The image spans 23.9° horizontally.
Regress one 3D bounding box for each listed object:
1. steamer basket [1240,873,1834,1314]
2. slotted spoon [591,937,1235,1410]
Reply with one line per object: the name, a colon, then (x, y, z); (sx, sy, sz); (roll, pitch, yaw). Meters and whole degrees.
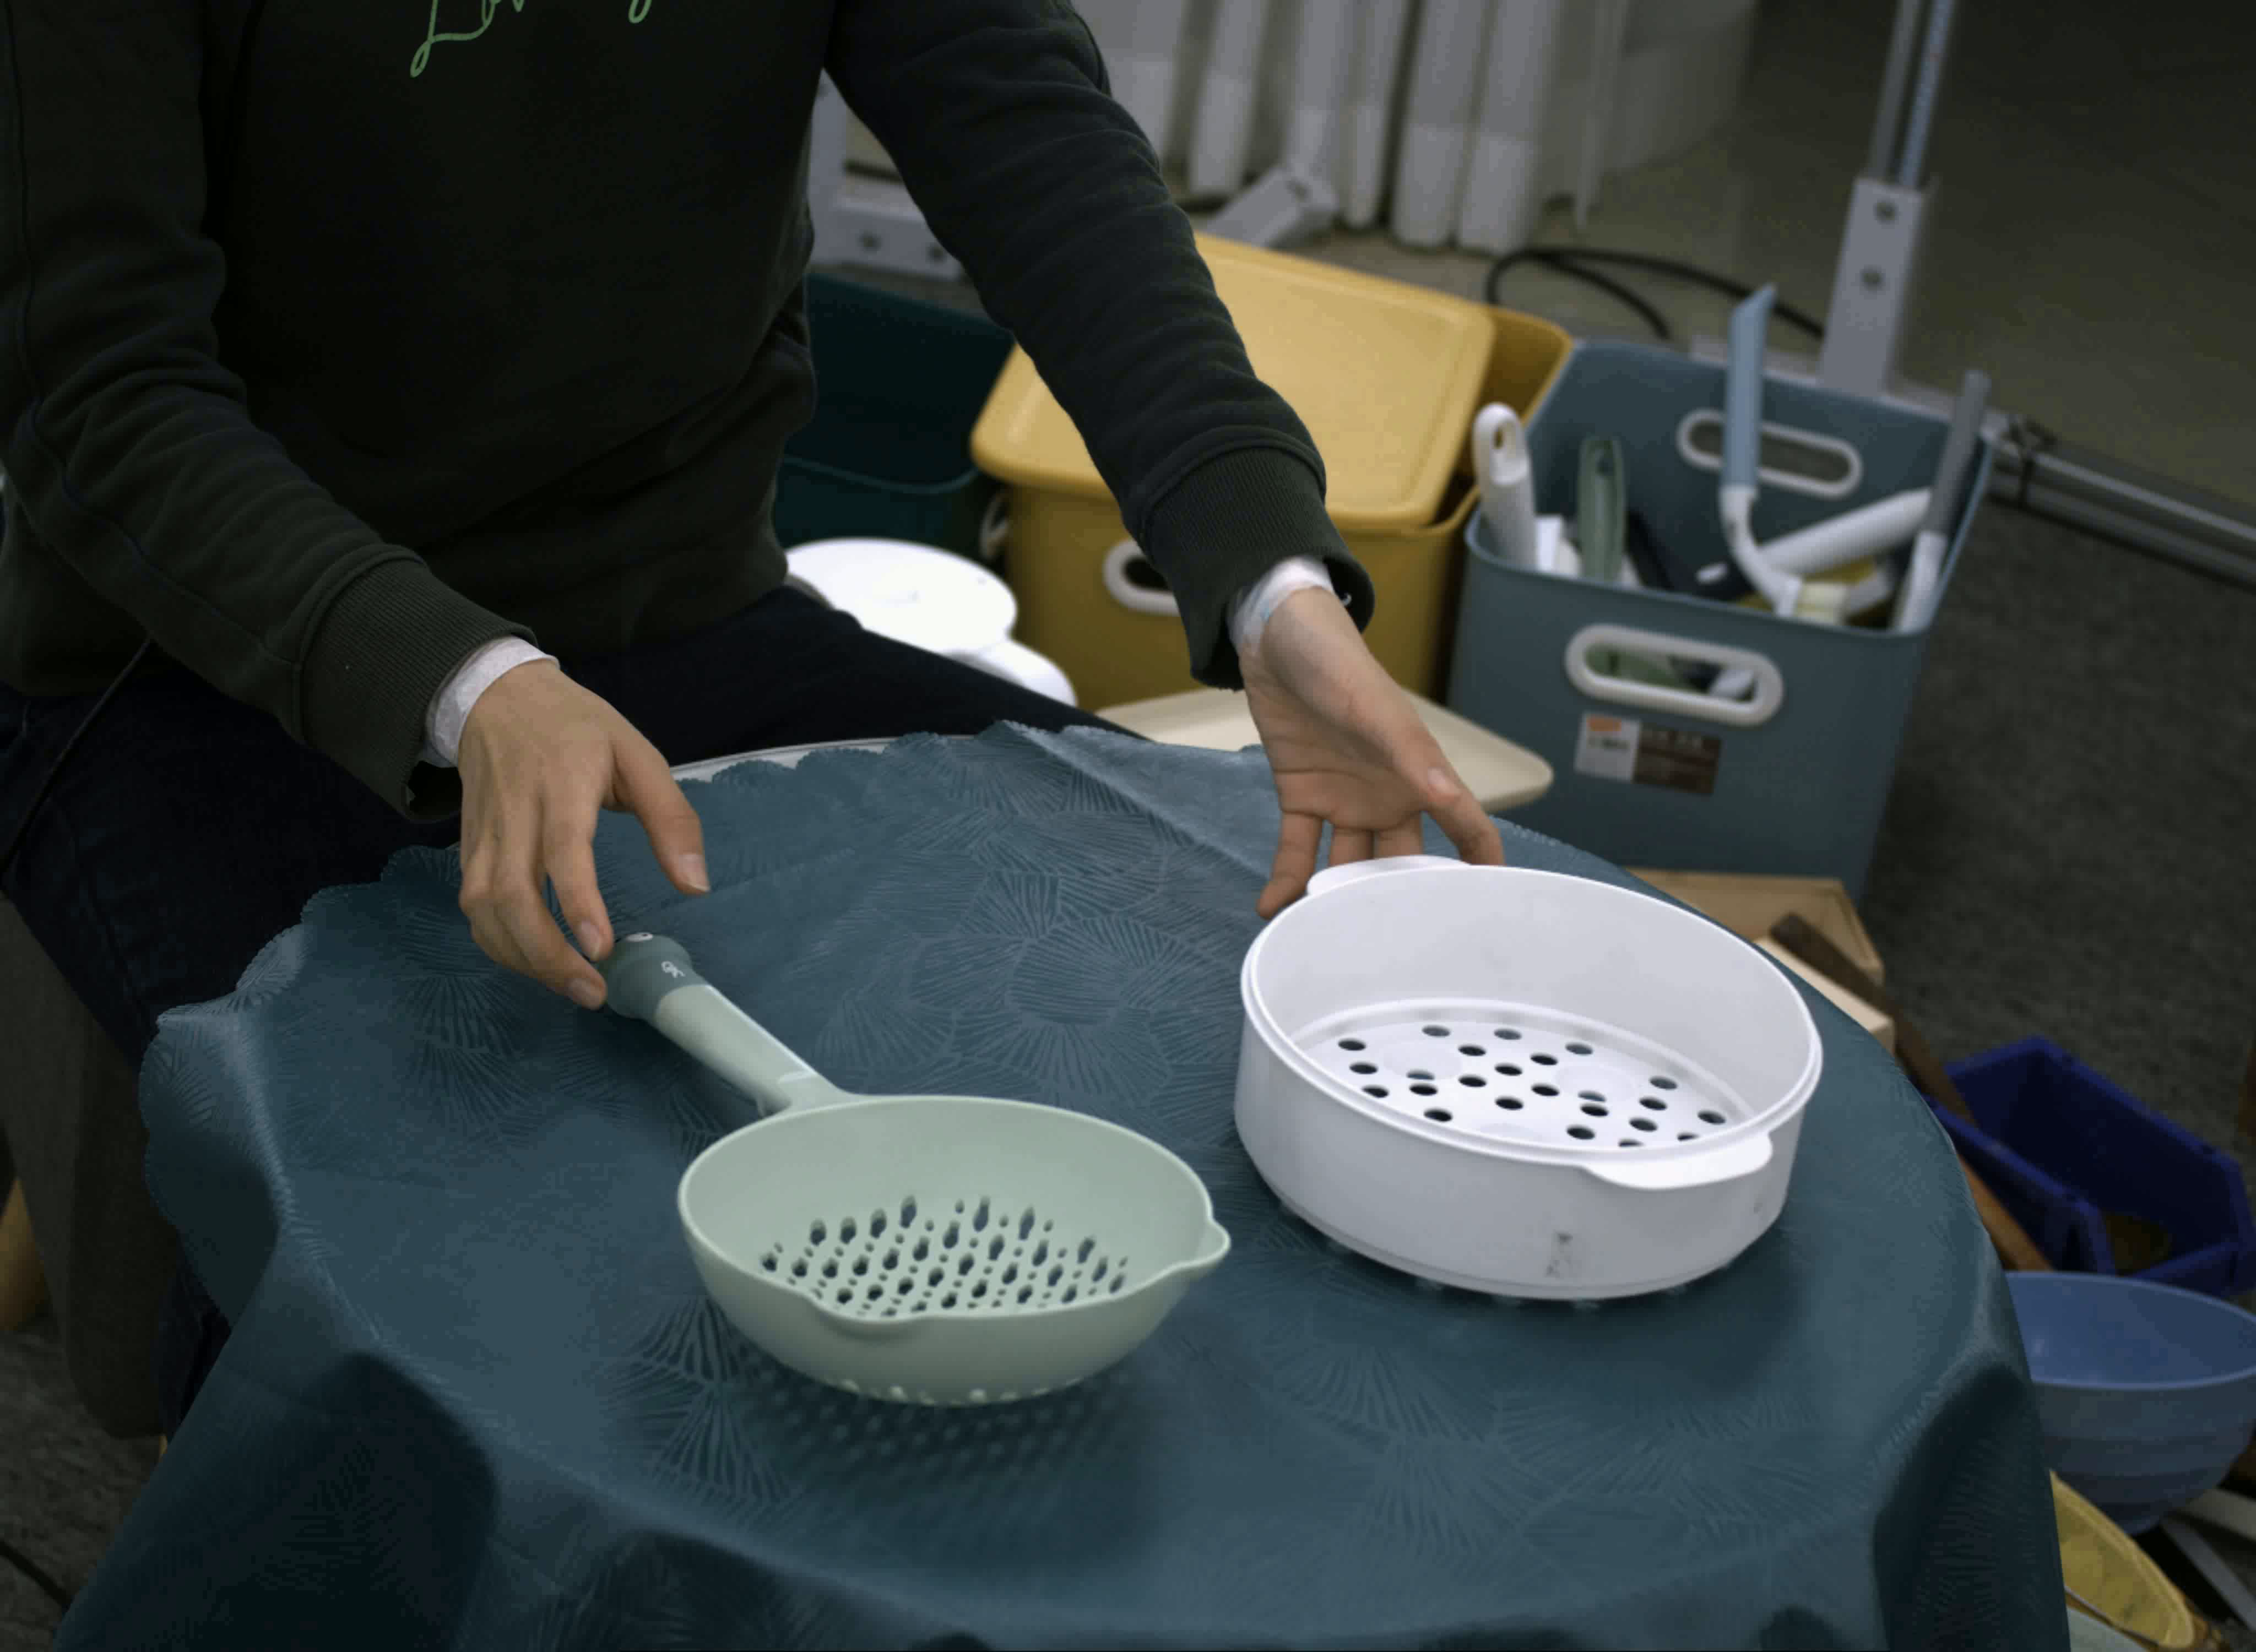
steamer basket: (0.137, 0.093, 1.822); (0.200, 0.069, 0.232); (-7, 29, -27)
slotted spoon: (-0.103, 0.099, 1.756); (0.168, 0.075, 0.362); (-7, 30, -27)
